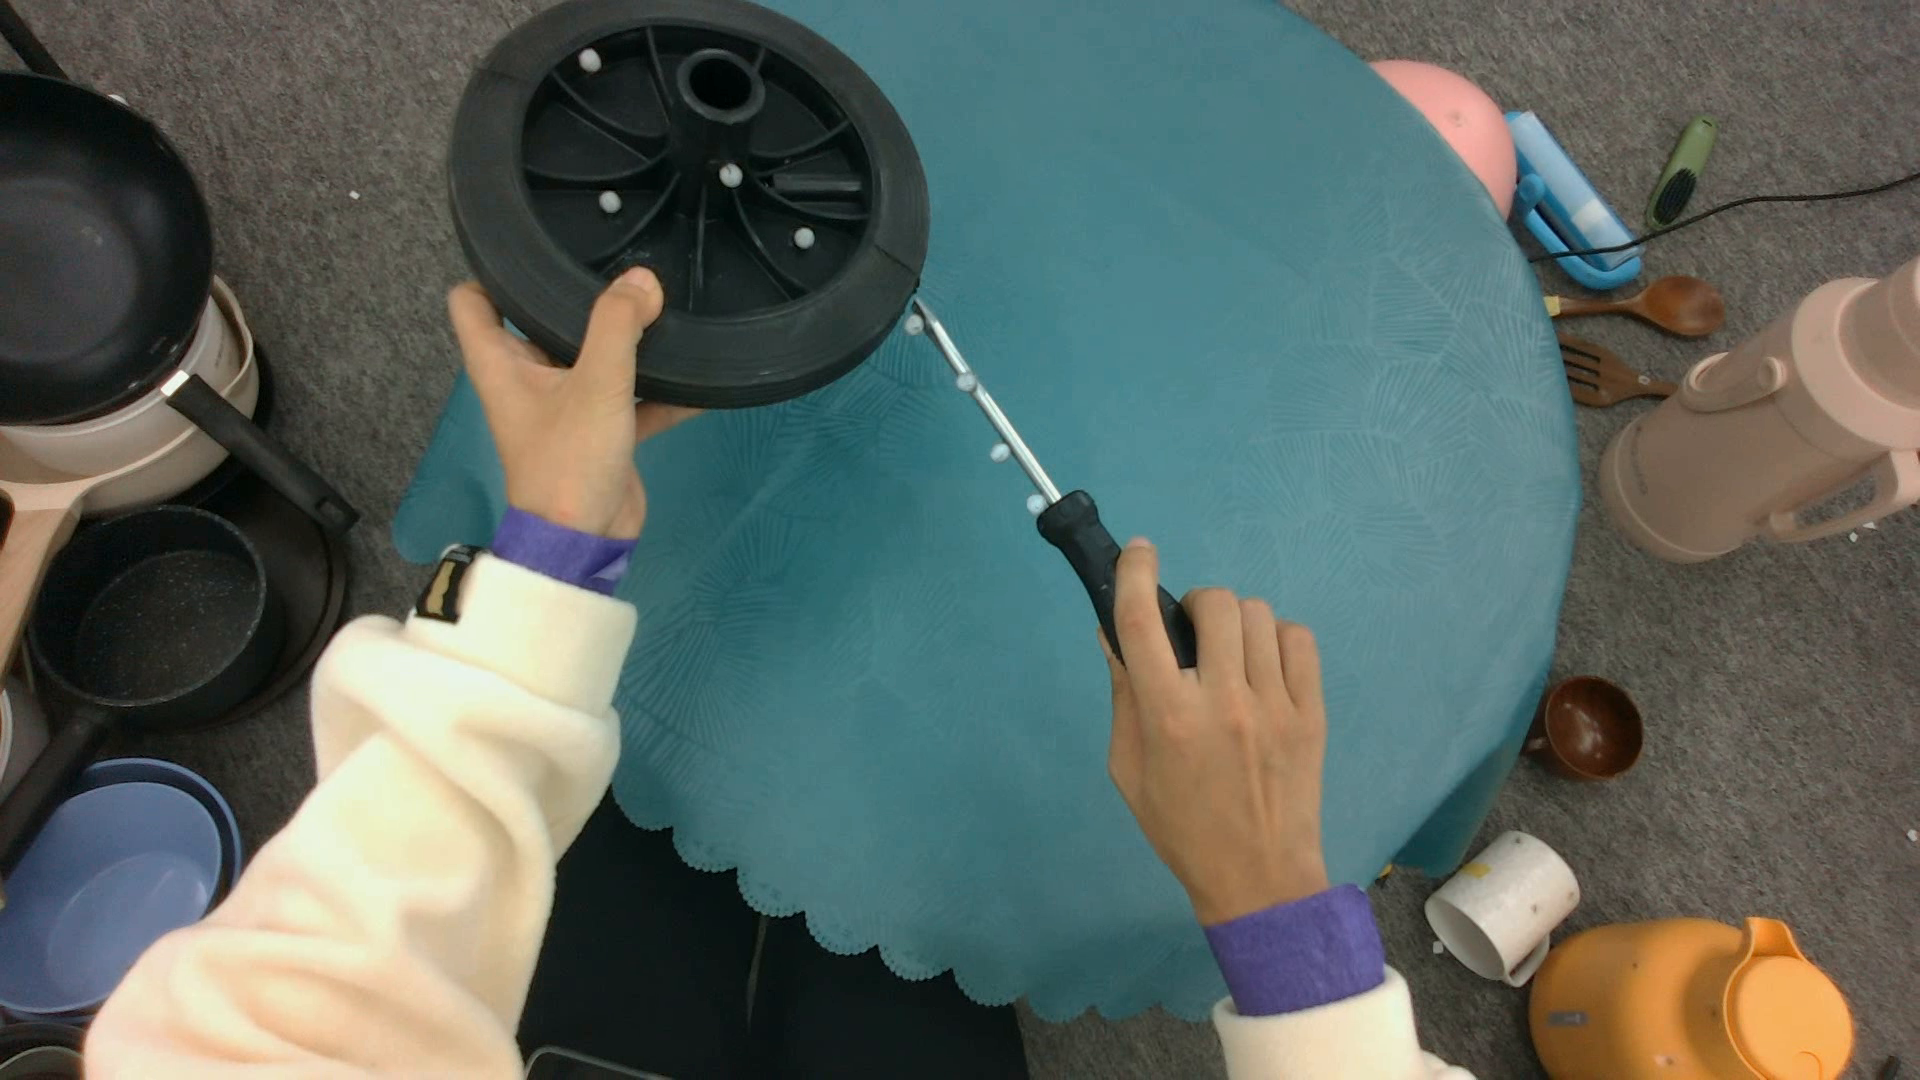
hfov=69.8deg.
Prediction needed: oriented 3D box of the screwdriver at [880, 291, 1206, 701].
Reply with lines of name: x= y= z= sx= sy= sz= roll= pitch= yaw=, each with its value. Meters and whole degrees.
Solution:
screwdriver: x=0.030 y=-0.022 z=0.531 sx=0.031 sy=0.031 sz=0.198 roll=-33 pitch=83 yaw=-18

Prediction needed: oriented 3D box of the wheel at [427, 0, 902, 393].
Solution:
wheel: x=-0.106 y=-0.154 z=0.537 sx=0.190 sy=0.079 sz=0.187 roll=-30 pitch=81 yaw=-30
